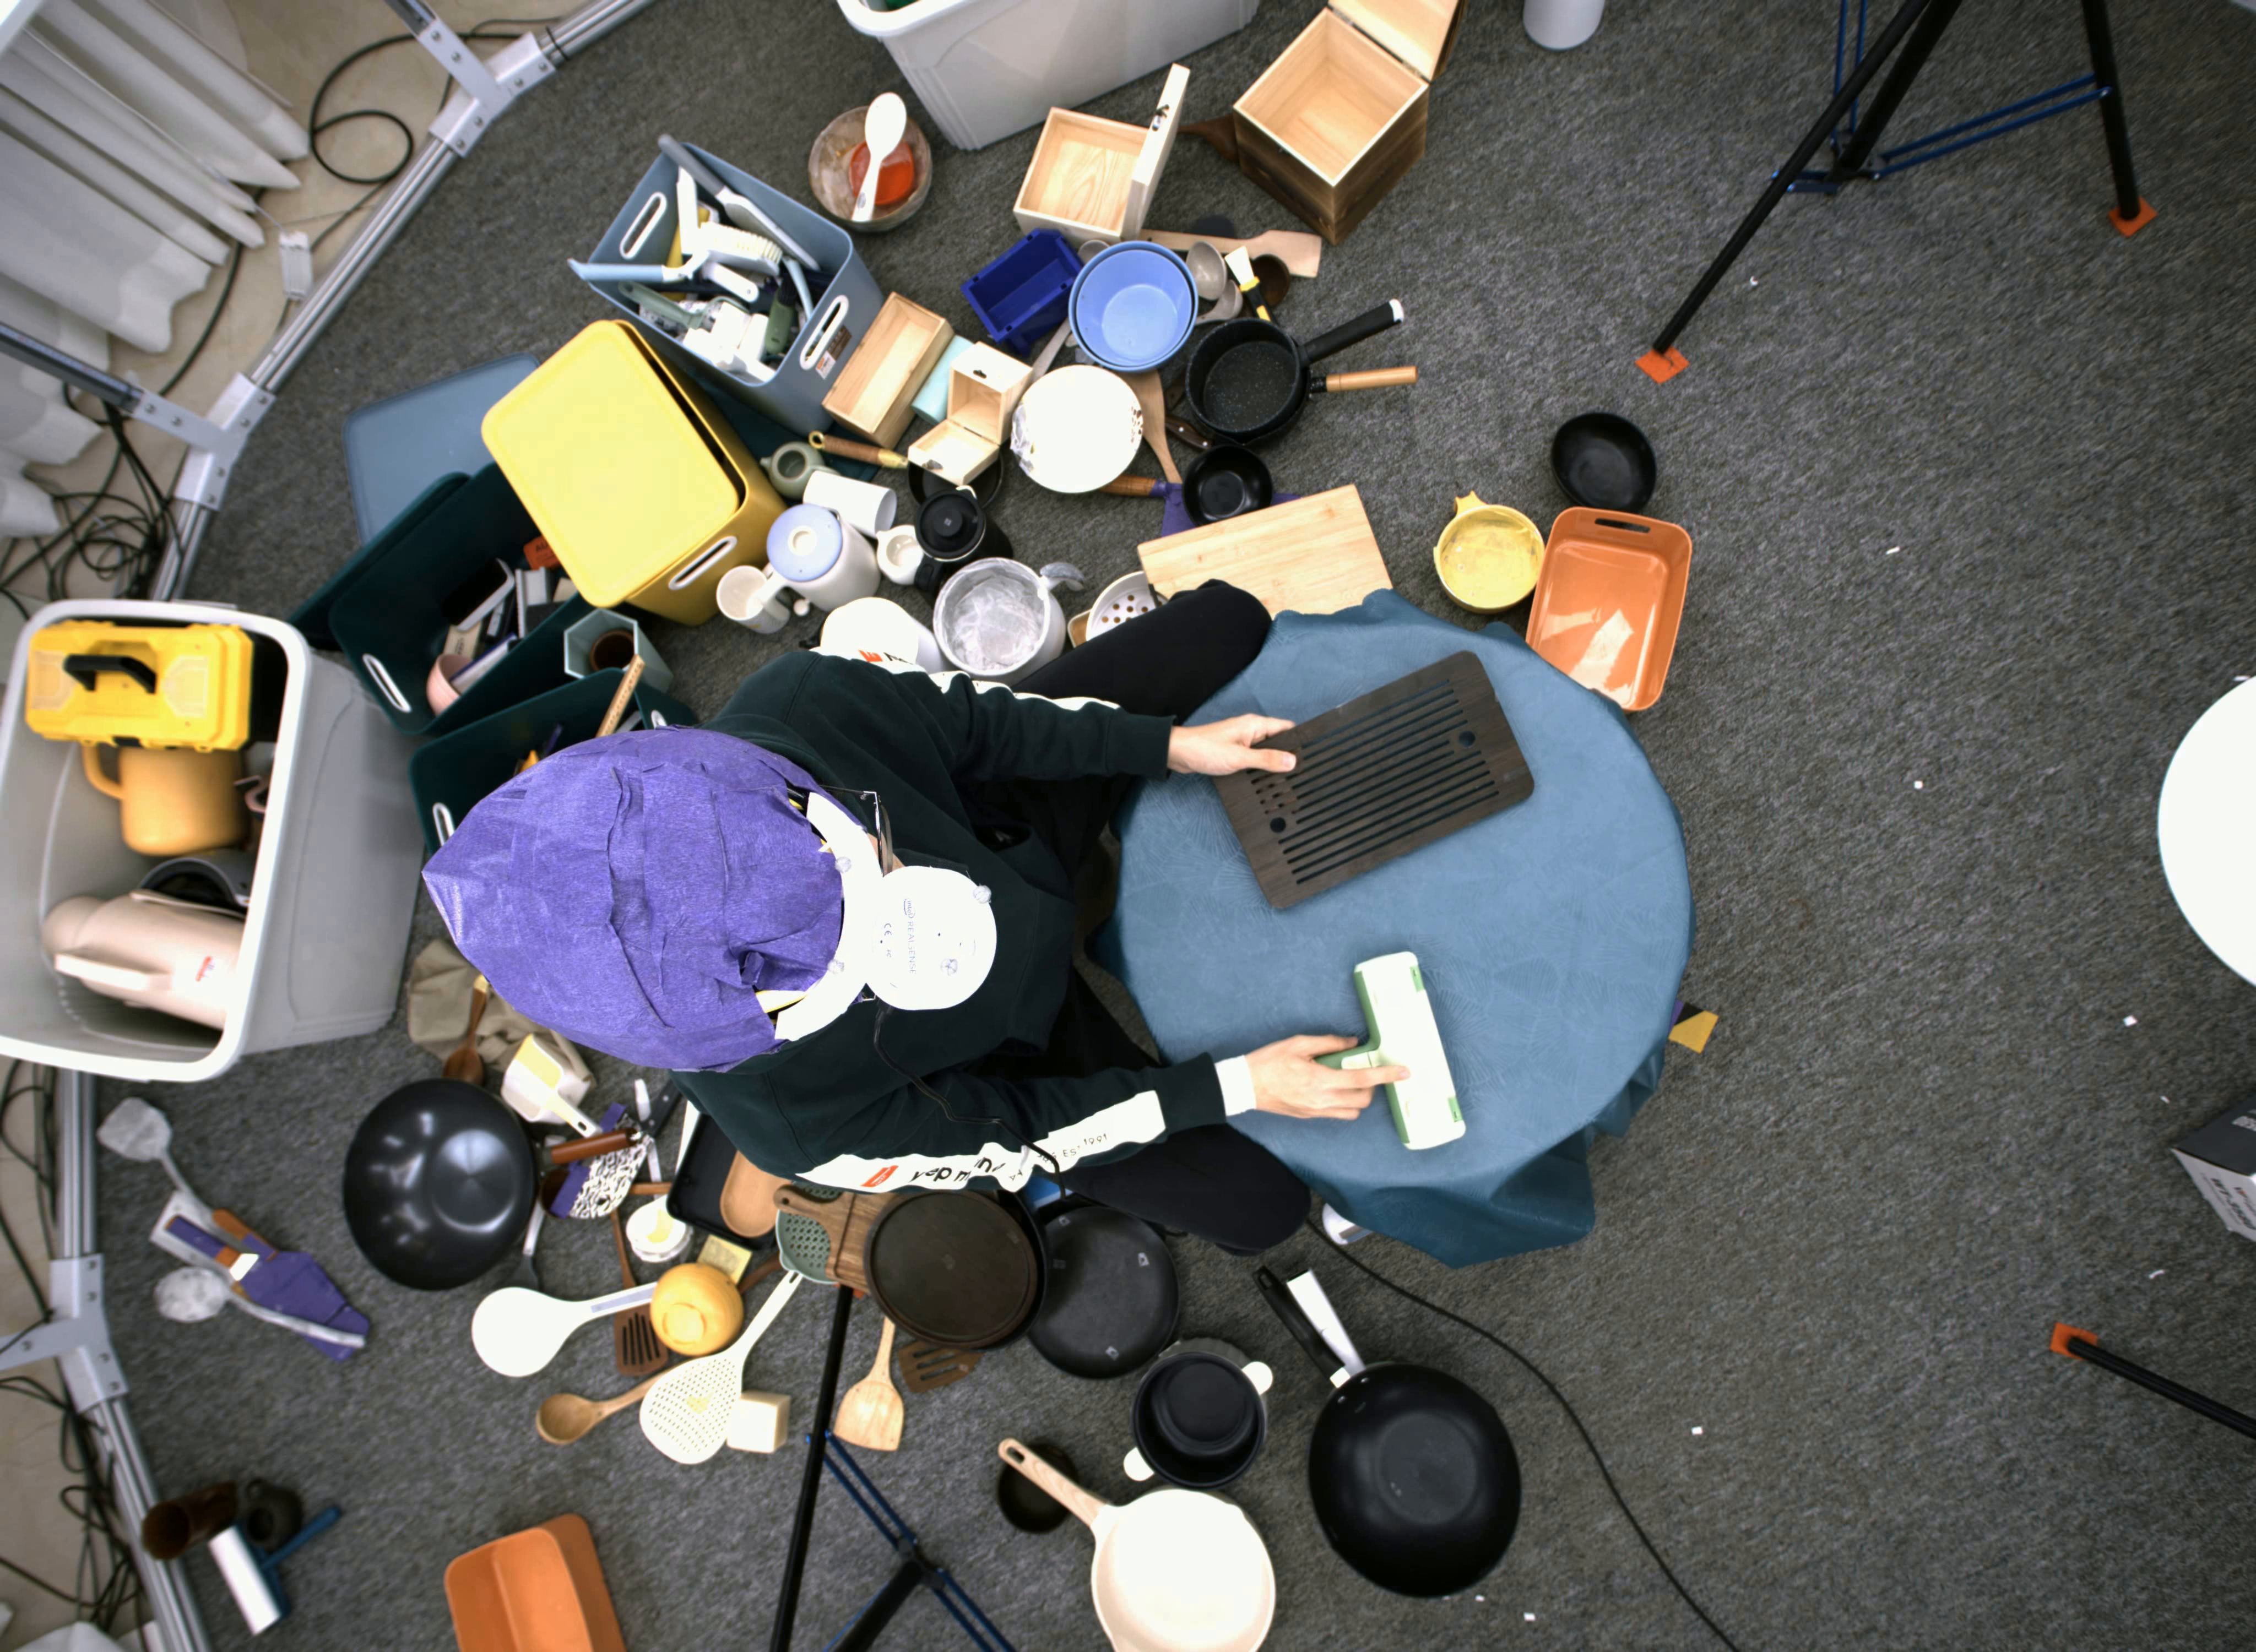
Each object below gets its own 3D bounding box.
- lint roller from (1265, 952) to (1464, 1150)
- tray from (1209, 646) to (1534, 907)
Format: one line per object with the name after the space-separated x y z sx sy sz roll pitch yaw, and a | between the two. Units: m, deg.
0.229 0.242 1.412 0.184 0.082 0.197 -15 84 5 | lint roller
0.253 -0.052 1.438 0.307 0.018 0.170 -25 93 7 | tray
